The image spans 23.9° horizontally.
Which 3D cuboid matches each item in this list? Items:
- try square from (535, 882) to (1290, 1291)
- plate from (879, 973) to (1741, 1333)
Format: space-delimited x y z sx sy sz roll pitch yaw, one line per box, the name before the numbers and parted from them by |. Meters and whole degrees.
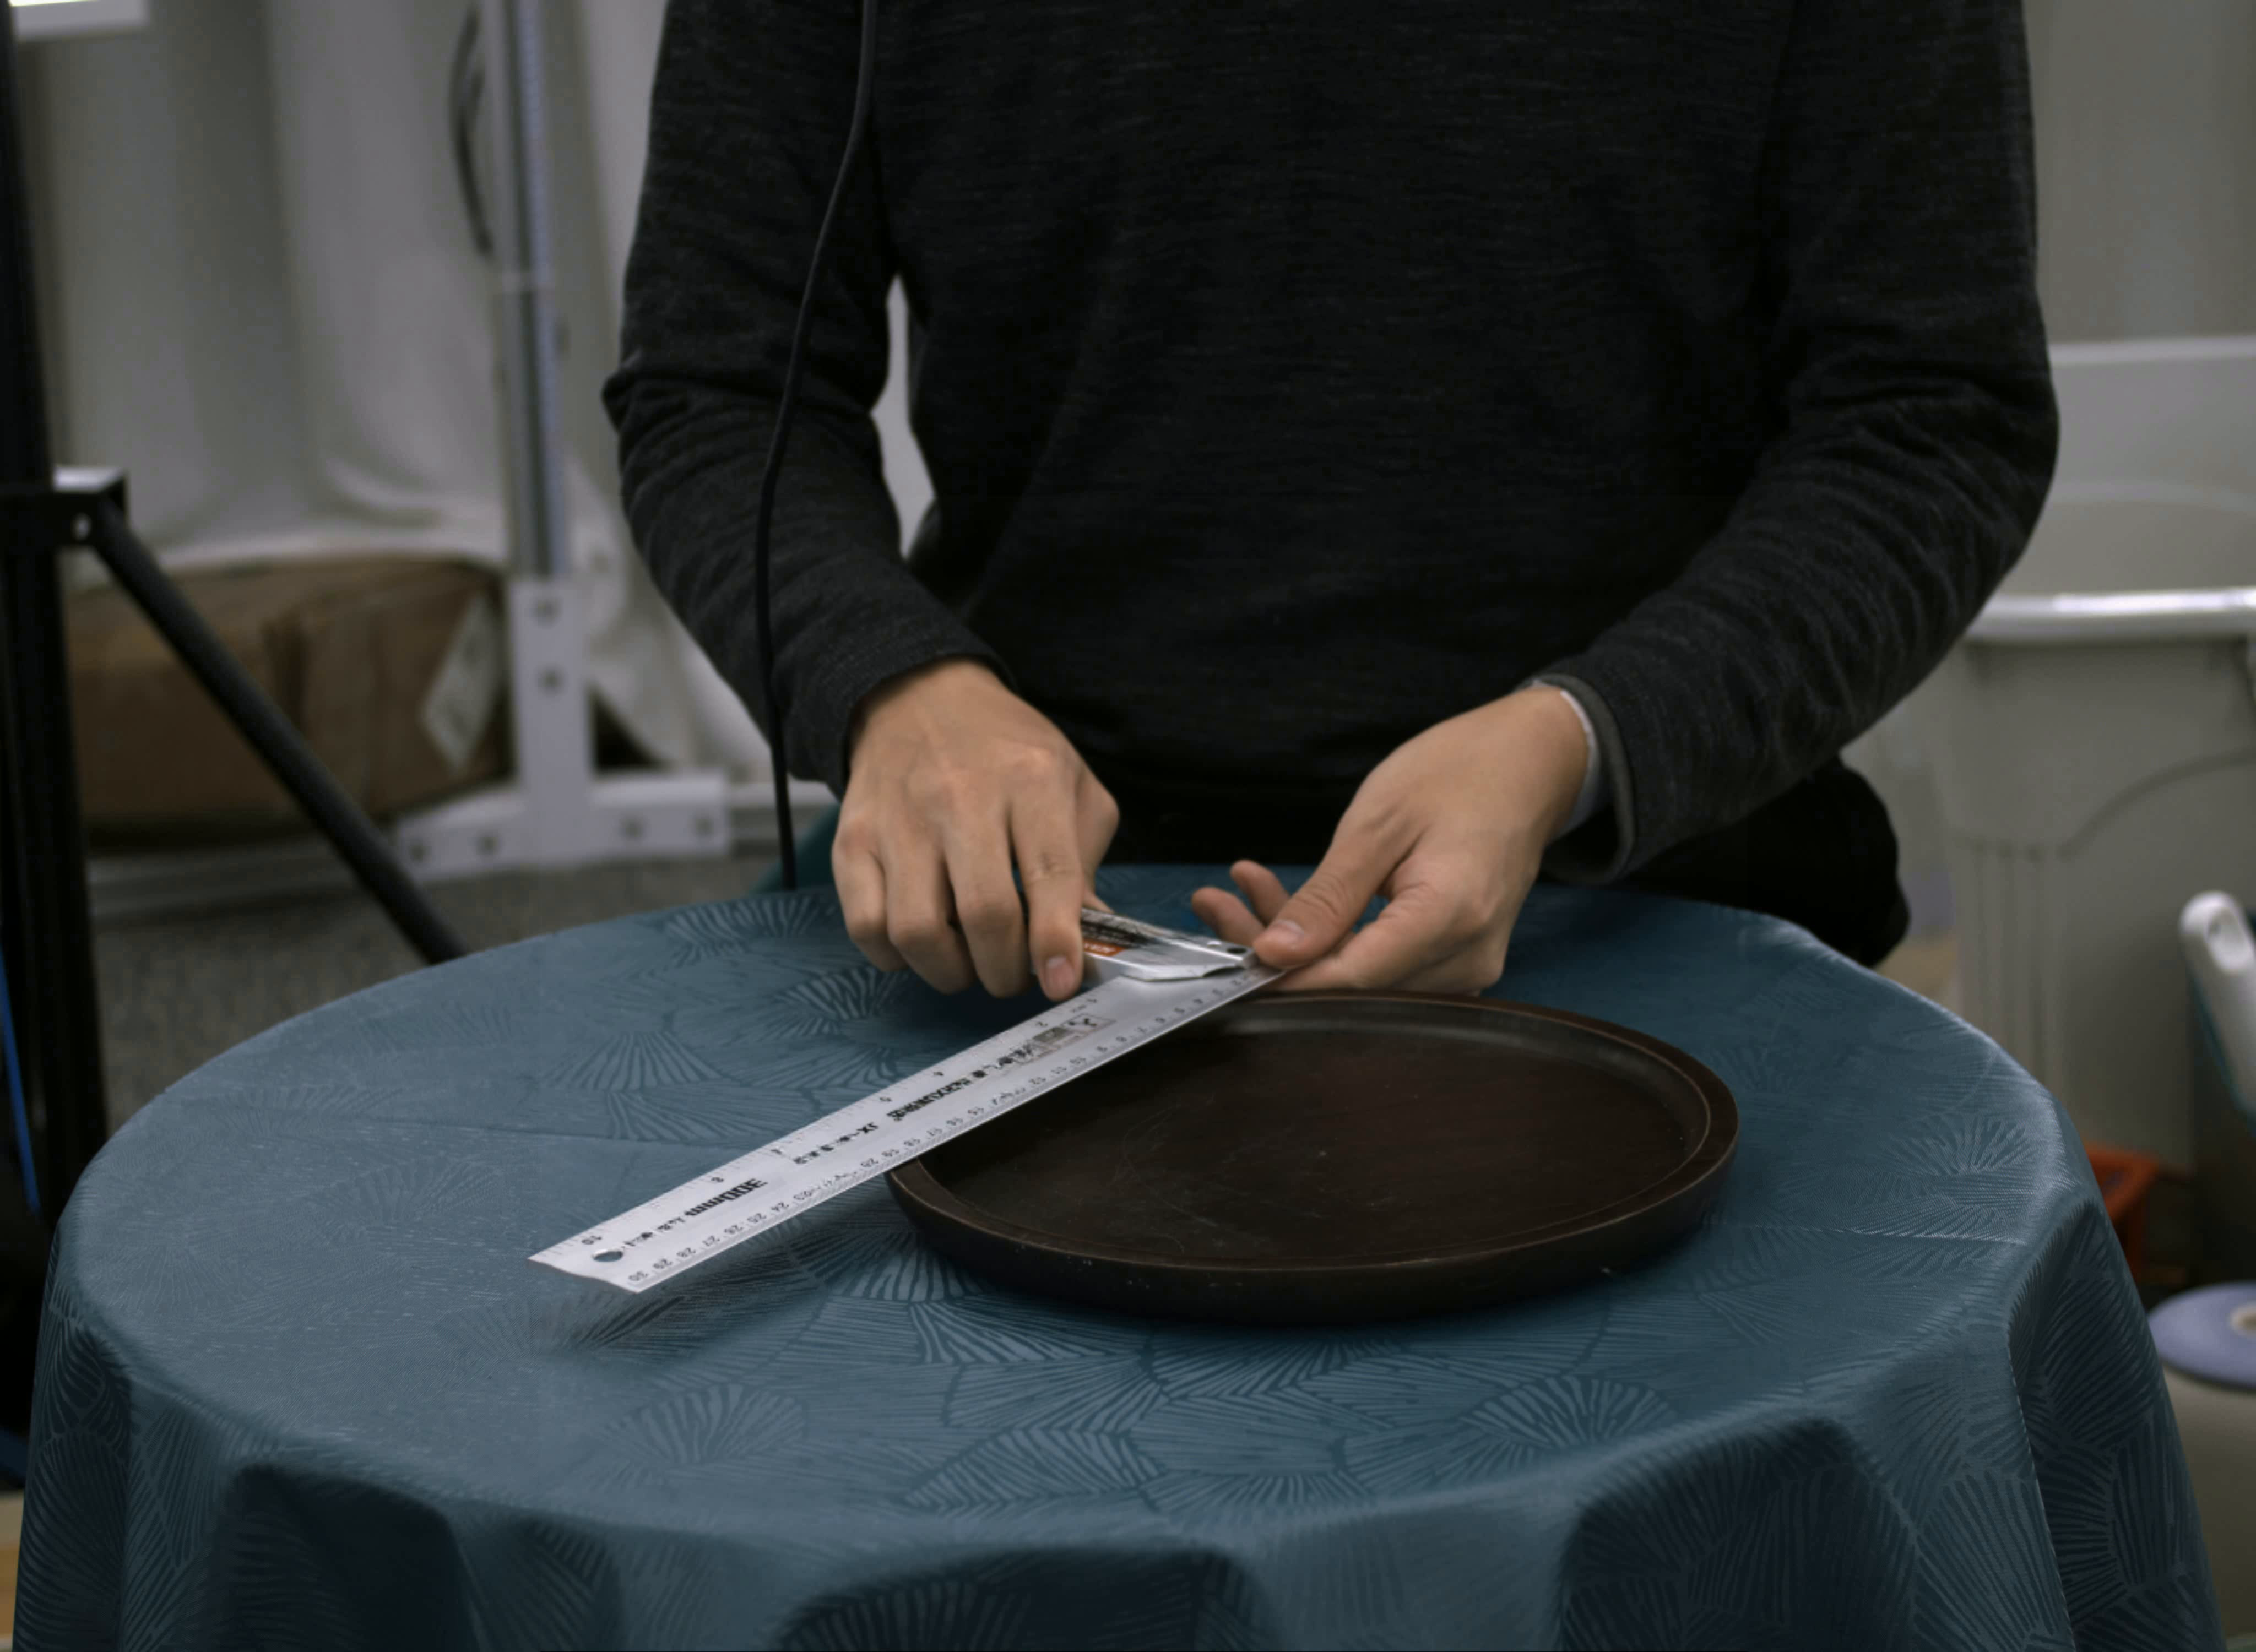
try square | -0.099 0.074 1.602 0.155 0.016 0.306 10 22 37
plate | 0.053 0.095 1.549 0.253 0.029 0.256 -4 17 0
